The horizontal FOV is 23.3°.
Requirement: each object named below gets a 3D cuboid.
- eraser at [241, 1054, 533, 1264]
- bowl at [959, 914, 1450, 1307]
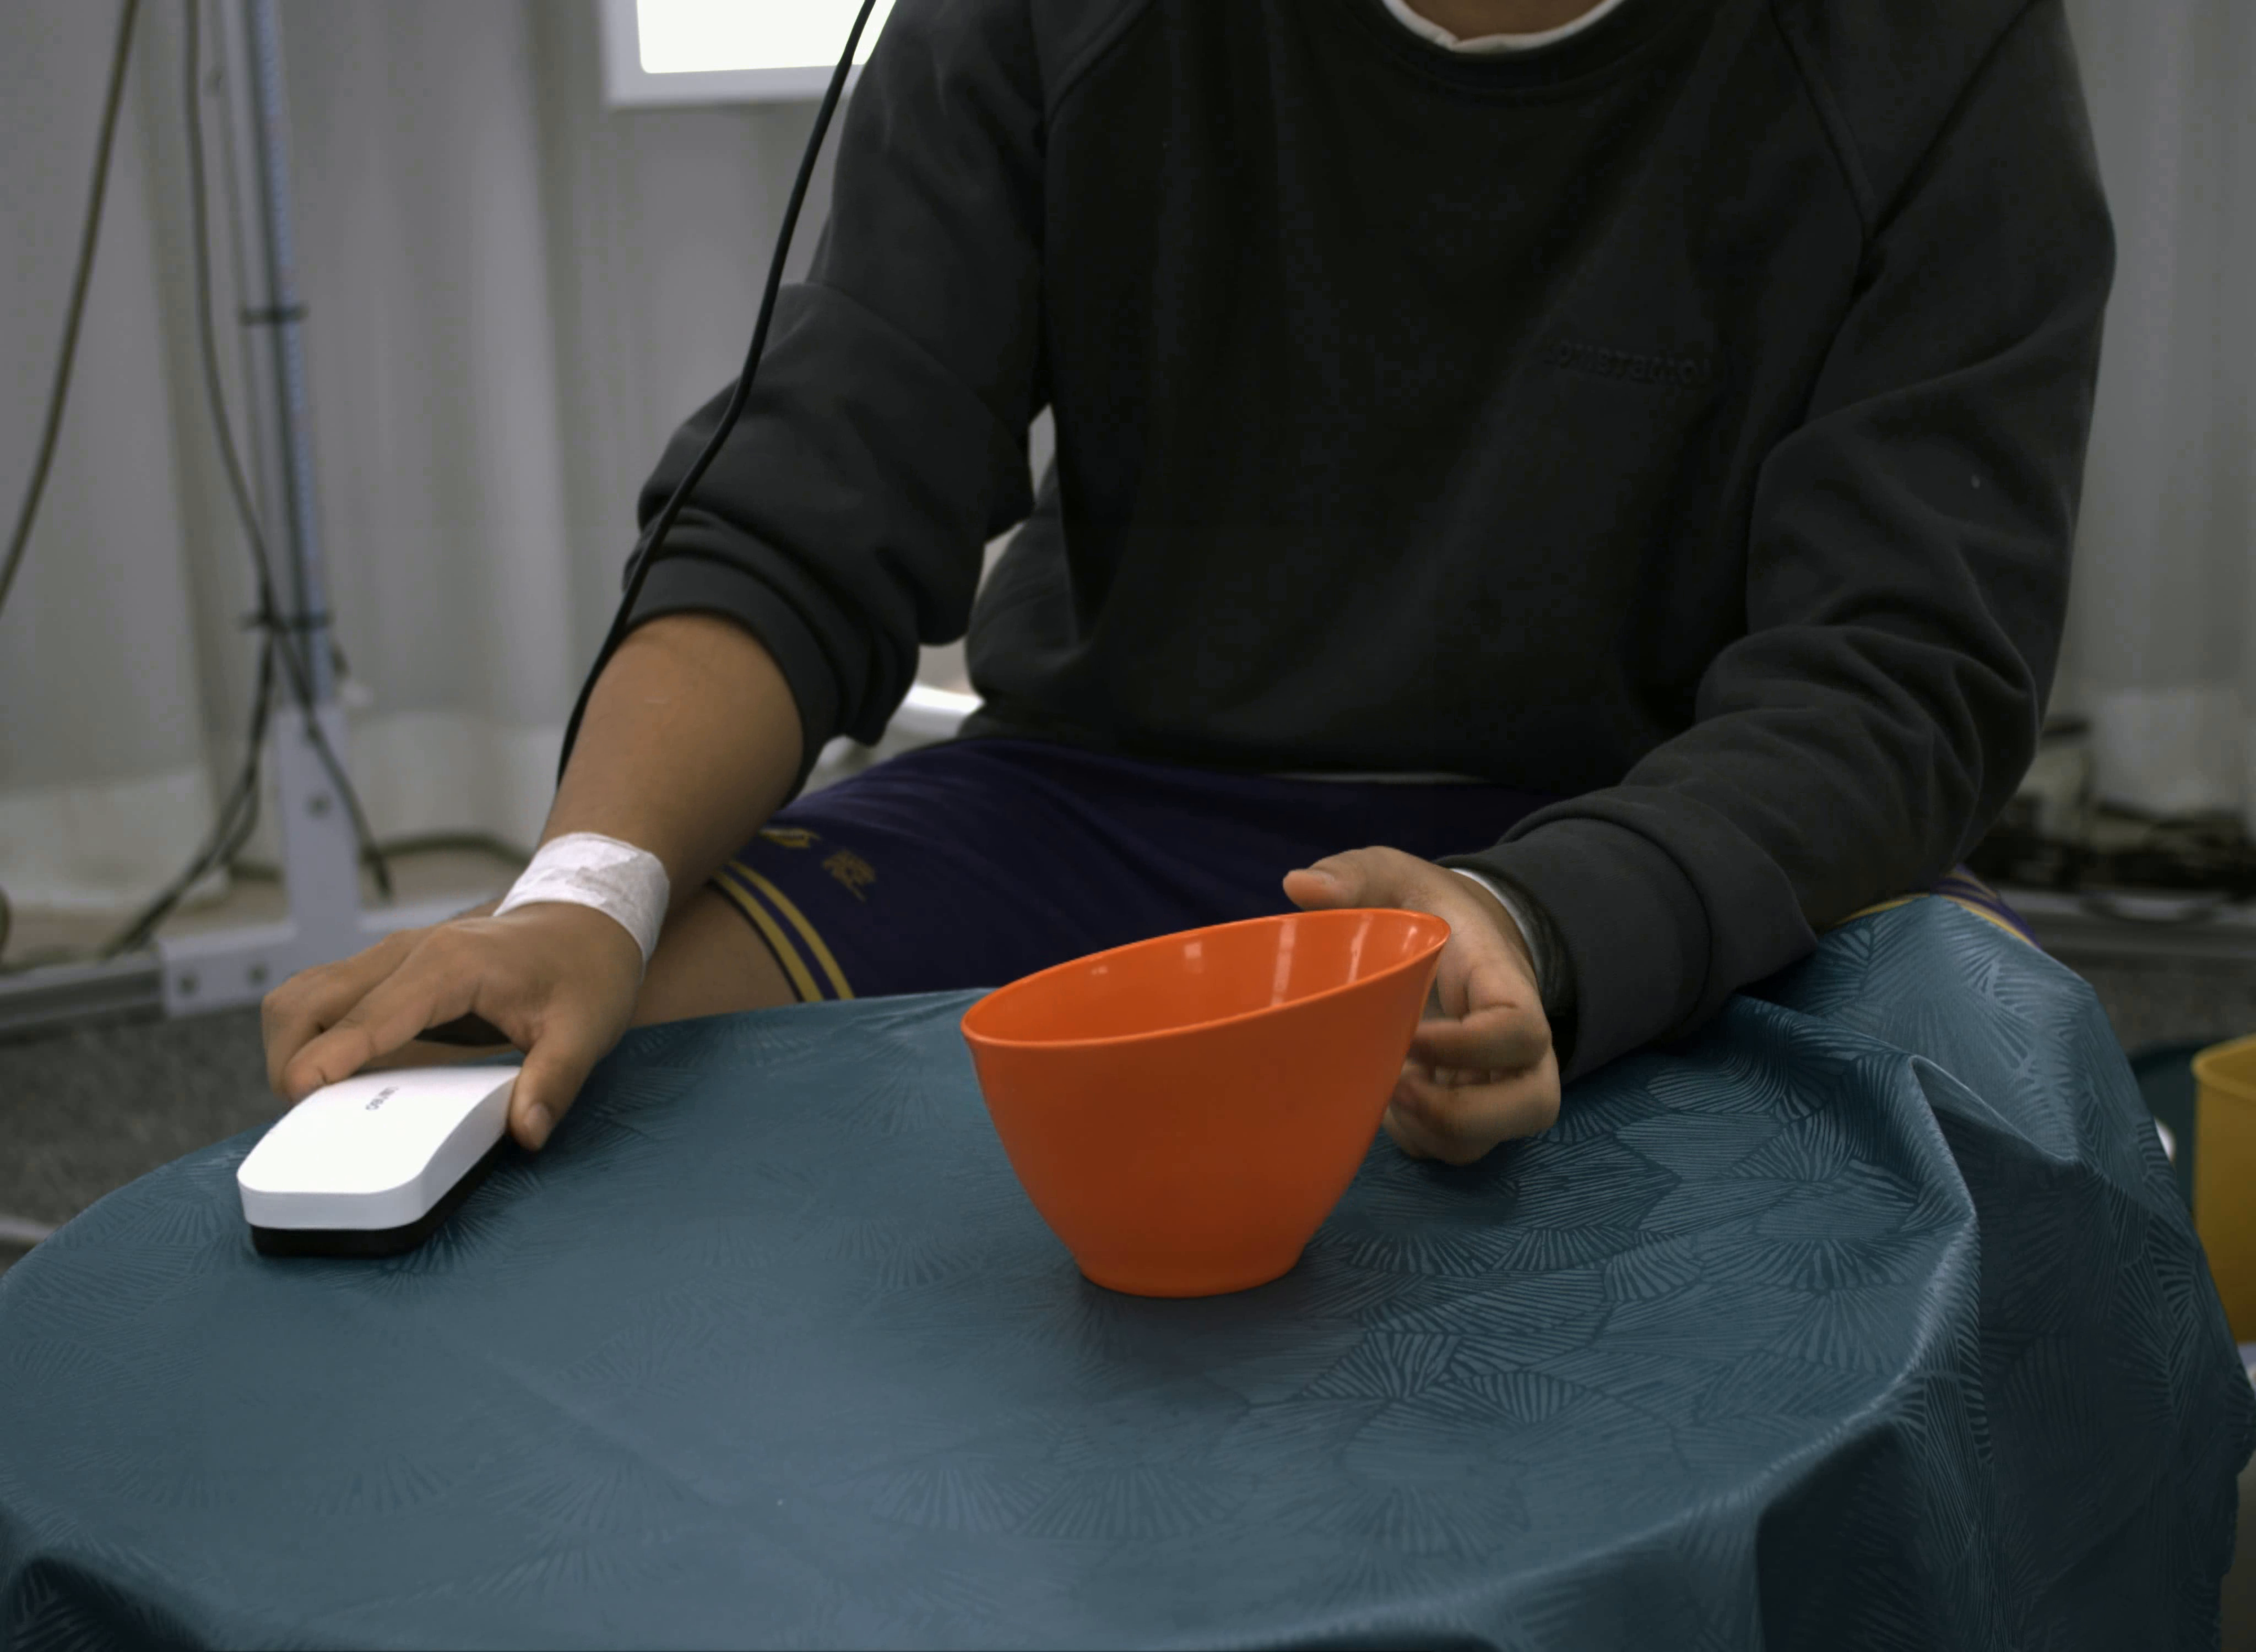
[{"bbox_3d":[-0.233,0.102,1.746,0.063,0.034,0.132,1,17,13],"label":"eraser"},{"bbox_3d":[0.025,0.085,1.630,0.147,0.104,0.149,-4,14,1],"label":"bowl"}]
